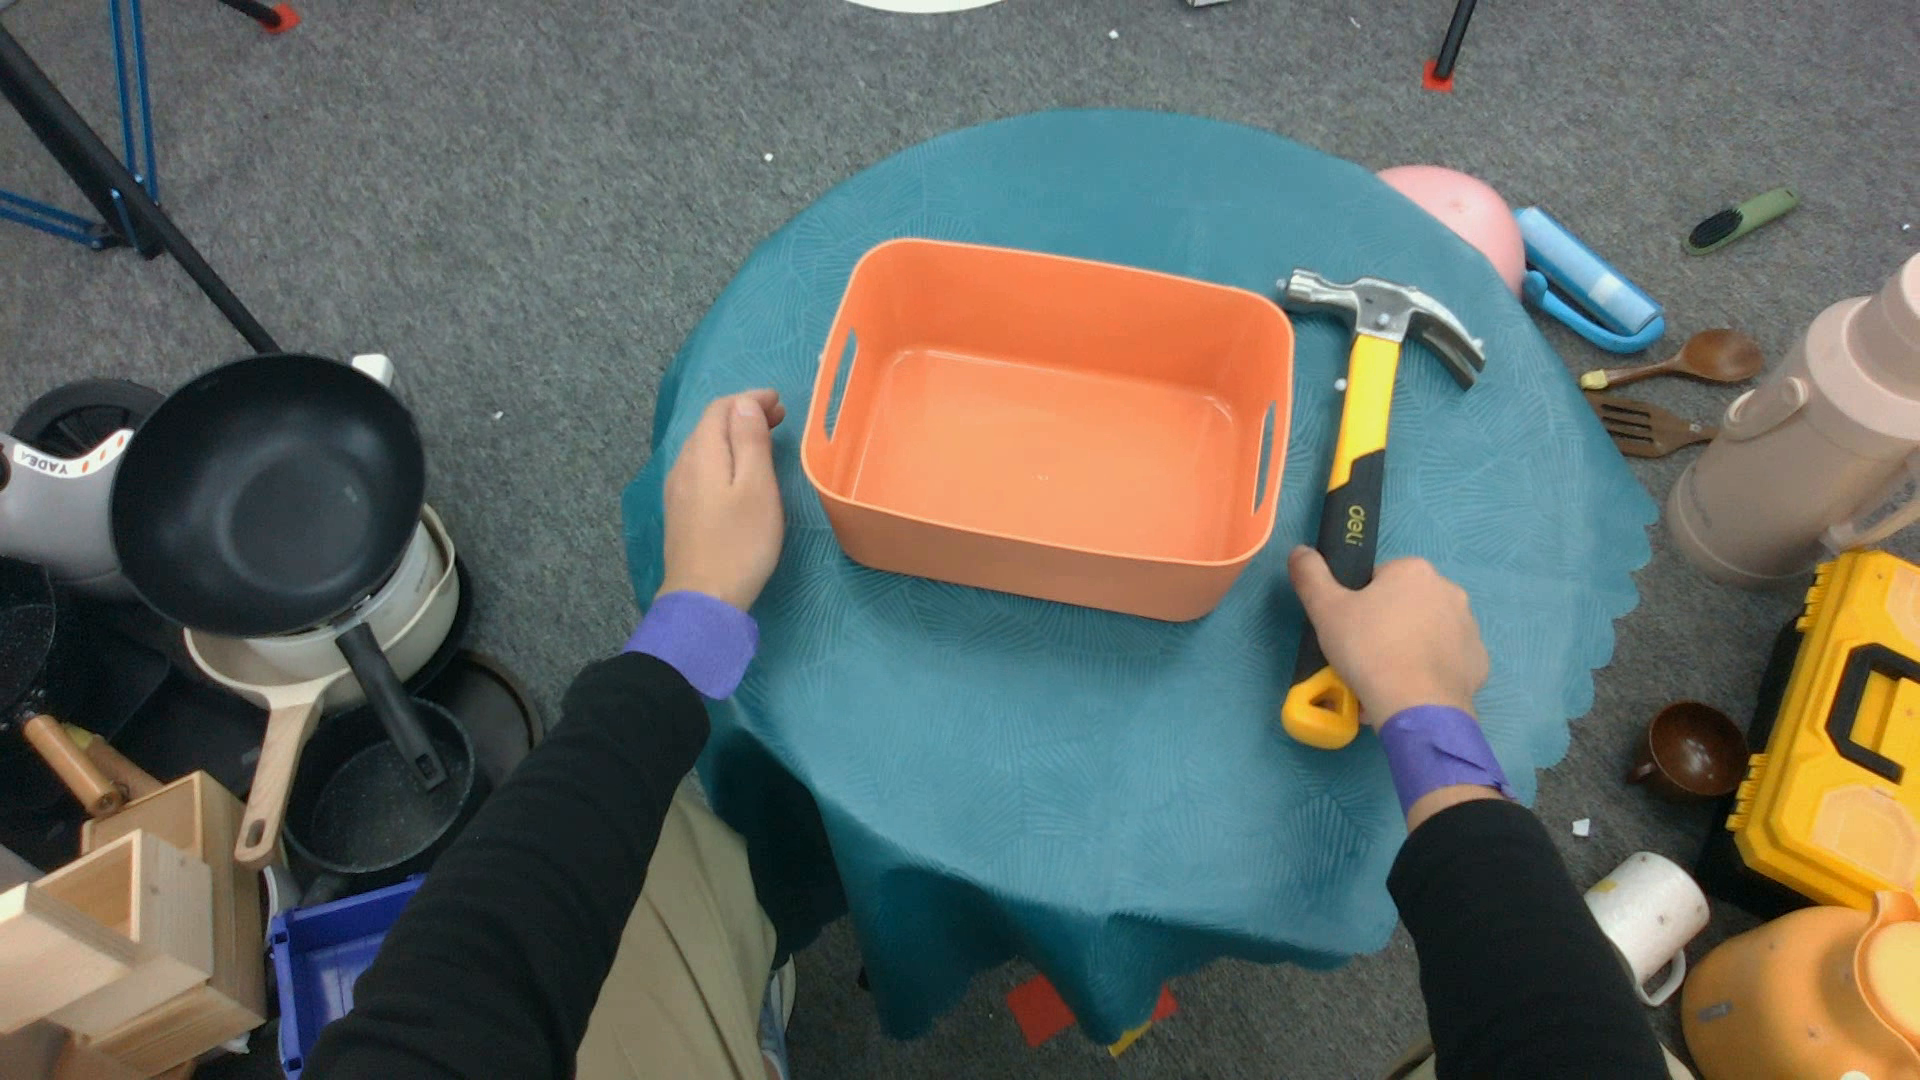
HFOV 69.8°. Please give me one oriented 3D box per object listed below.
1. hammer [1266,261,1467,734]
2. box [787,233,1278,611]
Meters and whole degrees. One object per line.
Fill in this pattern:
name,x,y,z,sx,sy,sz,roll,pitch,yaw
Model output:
hammer,0.236,-0.036,0.850,0.131,0.032,0.340,14,58,6
box,0.045,-0.066,0.834,0.273,0.102,0.200,9,62,5
